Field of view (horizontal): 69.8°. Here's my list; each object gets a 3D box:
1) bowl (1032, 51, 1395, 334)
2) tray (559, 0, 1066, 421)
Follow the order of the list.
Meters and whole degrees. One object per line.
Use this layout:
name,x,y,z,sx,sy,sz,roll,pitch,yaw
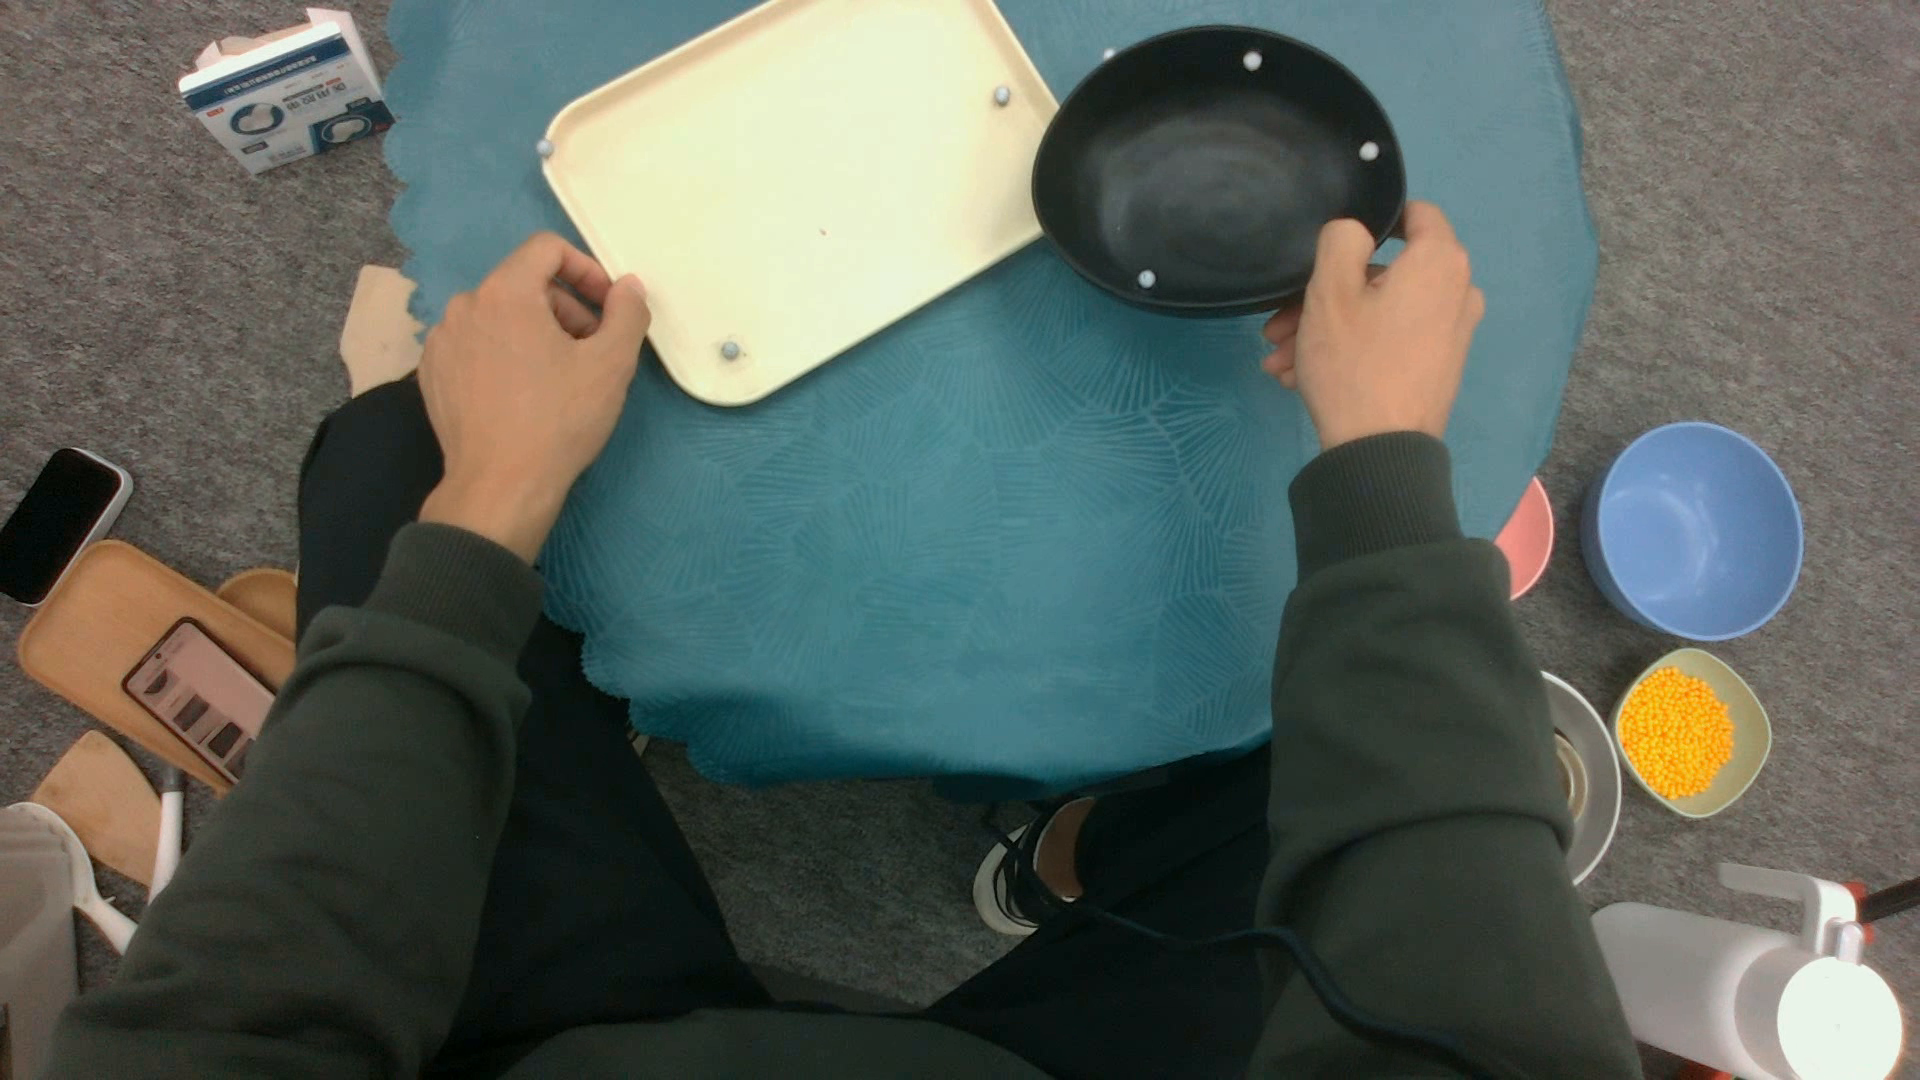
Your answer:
bowl,0.123,-0.160,0.668,0.170,0.066,0.137,7,81,16
tray,-0.066,-0.180,0.703,0.240,0.017,0.171,-32,87,-10
